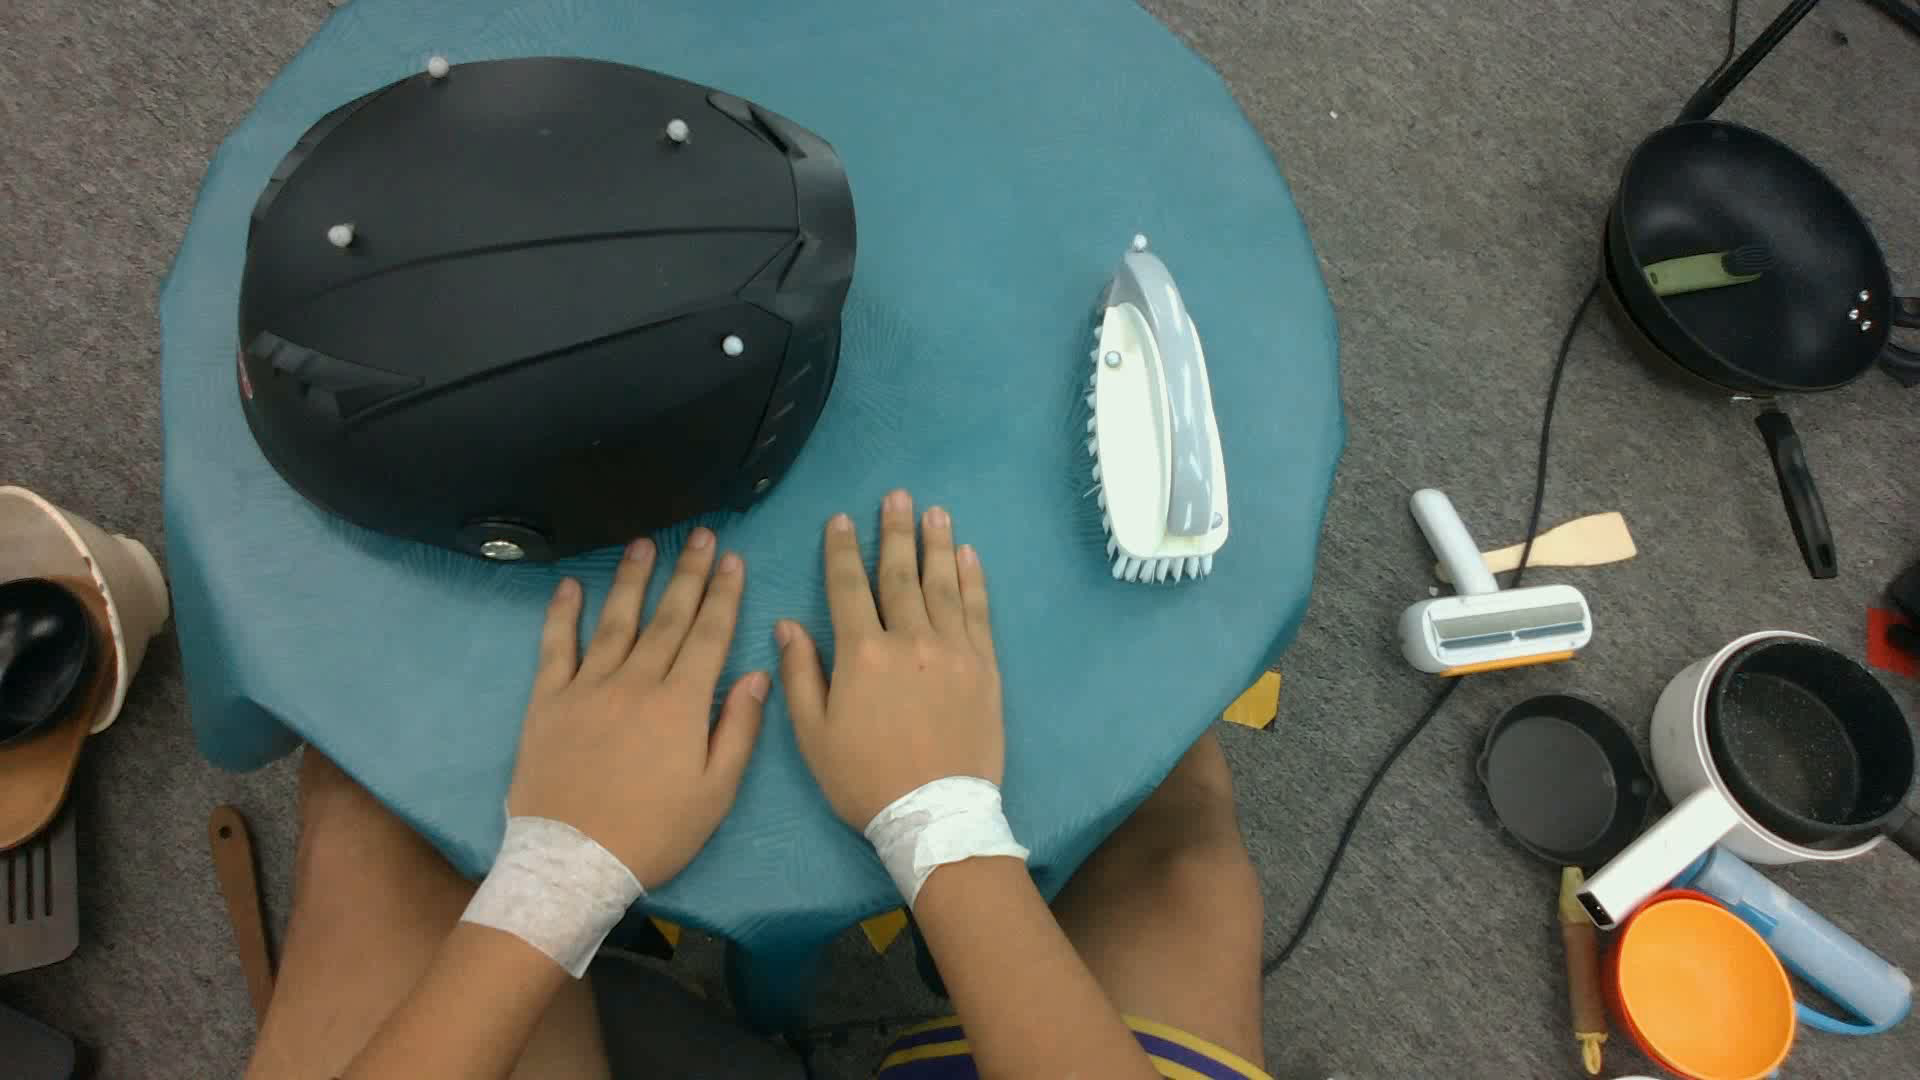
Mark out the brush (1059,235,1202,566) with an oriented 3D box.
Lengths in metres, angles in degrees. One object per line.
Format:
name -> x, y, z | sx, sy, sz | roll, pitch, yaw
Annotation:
brush -> 0.085, -0.082, 0.681 | 0.061, 0.094, 0.176 | -2, 69, -11

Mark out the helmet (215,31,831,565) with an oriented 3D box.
helmet -> -0.197, -0.124, 0.616 | 0.277, 0.171, 0.247 | -5, 70, -15
